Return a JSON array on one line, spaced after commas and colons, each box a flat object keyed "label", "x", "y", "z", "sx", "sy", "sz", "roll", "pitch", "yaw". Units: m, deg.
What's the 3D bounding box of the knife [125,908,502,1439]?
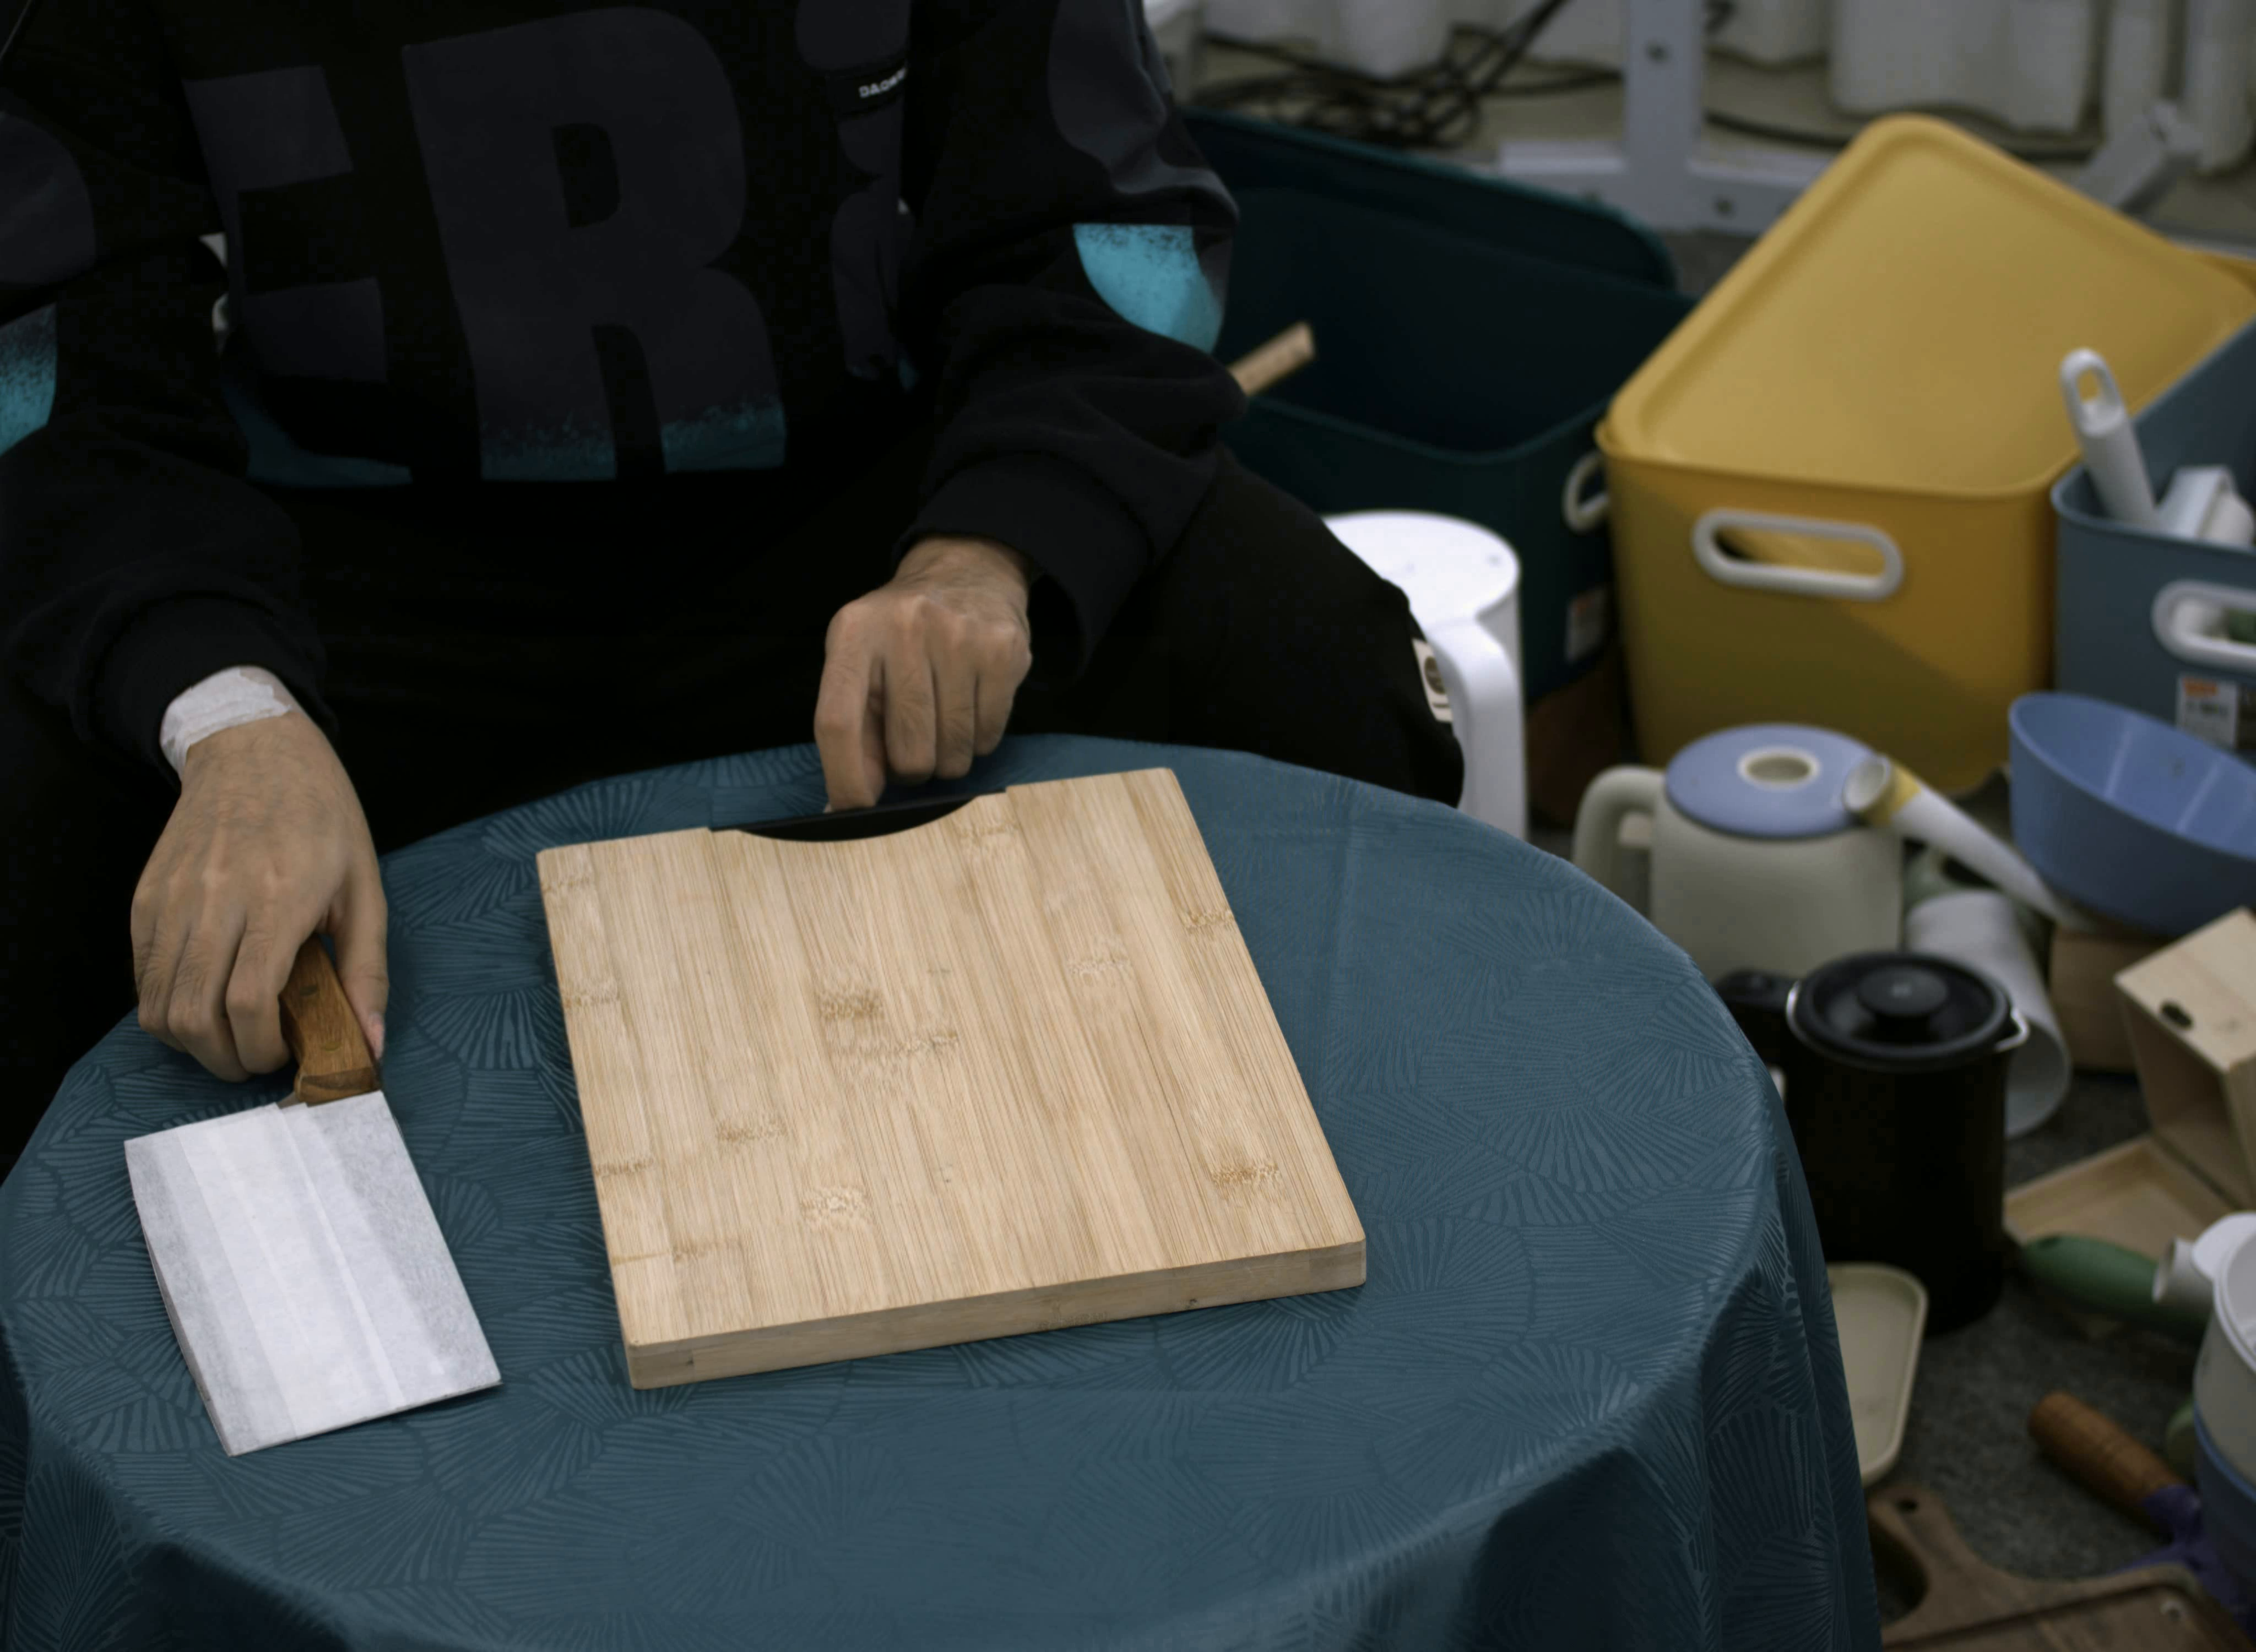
[{"label": "knife", "x": -0.286, "y": 0.115, "z": 1.883, "sx": 0.093, "sy": 0.021, "sz": 0.309, "roll": -14, "pitch": 32, "yaw": -13}]

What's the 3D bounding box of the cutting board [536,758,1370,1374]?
[{"label": "cutting board", "x": -0.070, "y": 0.077, "z": 1.937, "sx": 0.250, "sy": 0.023, "sz": 0.353, "roll": -8, "pitch": 28, "yaw": -9}]
